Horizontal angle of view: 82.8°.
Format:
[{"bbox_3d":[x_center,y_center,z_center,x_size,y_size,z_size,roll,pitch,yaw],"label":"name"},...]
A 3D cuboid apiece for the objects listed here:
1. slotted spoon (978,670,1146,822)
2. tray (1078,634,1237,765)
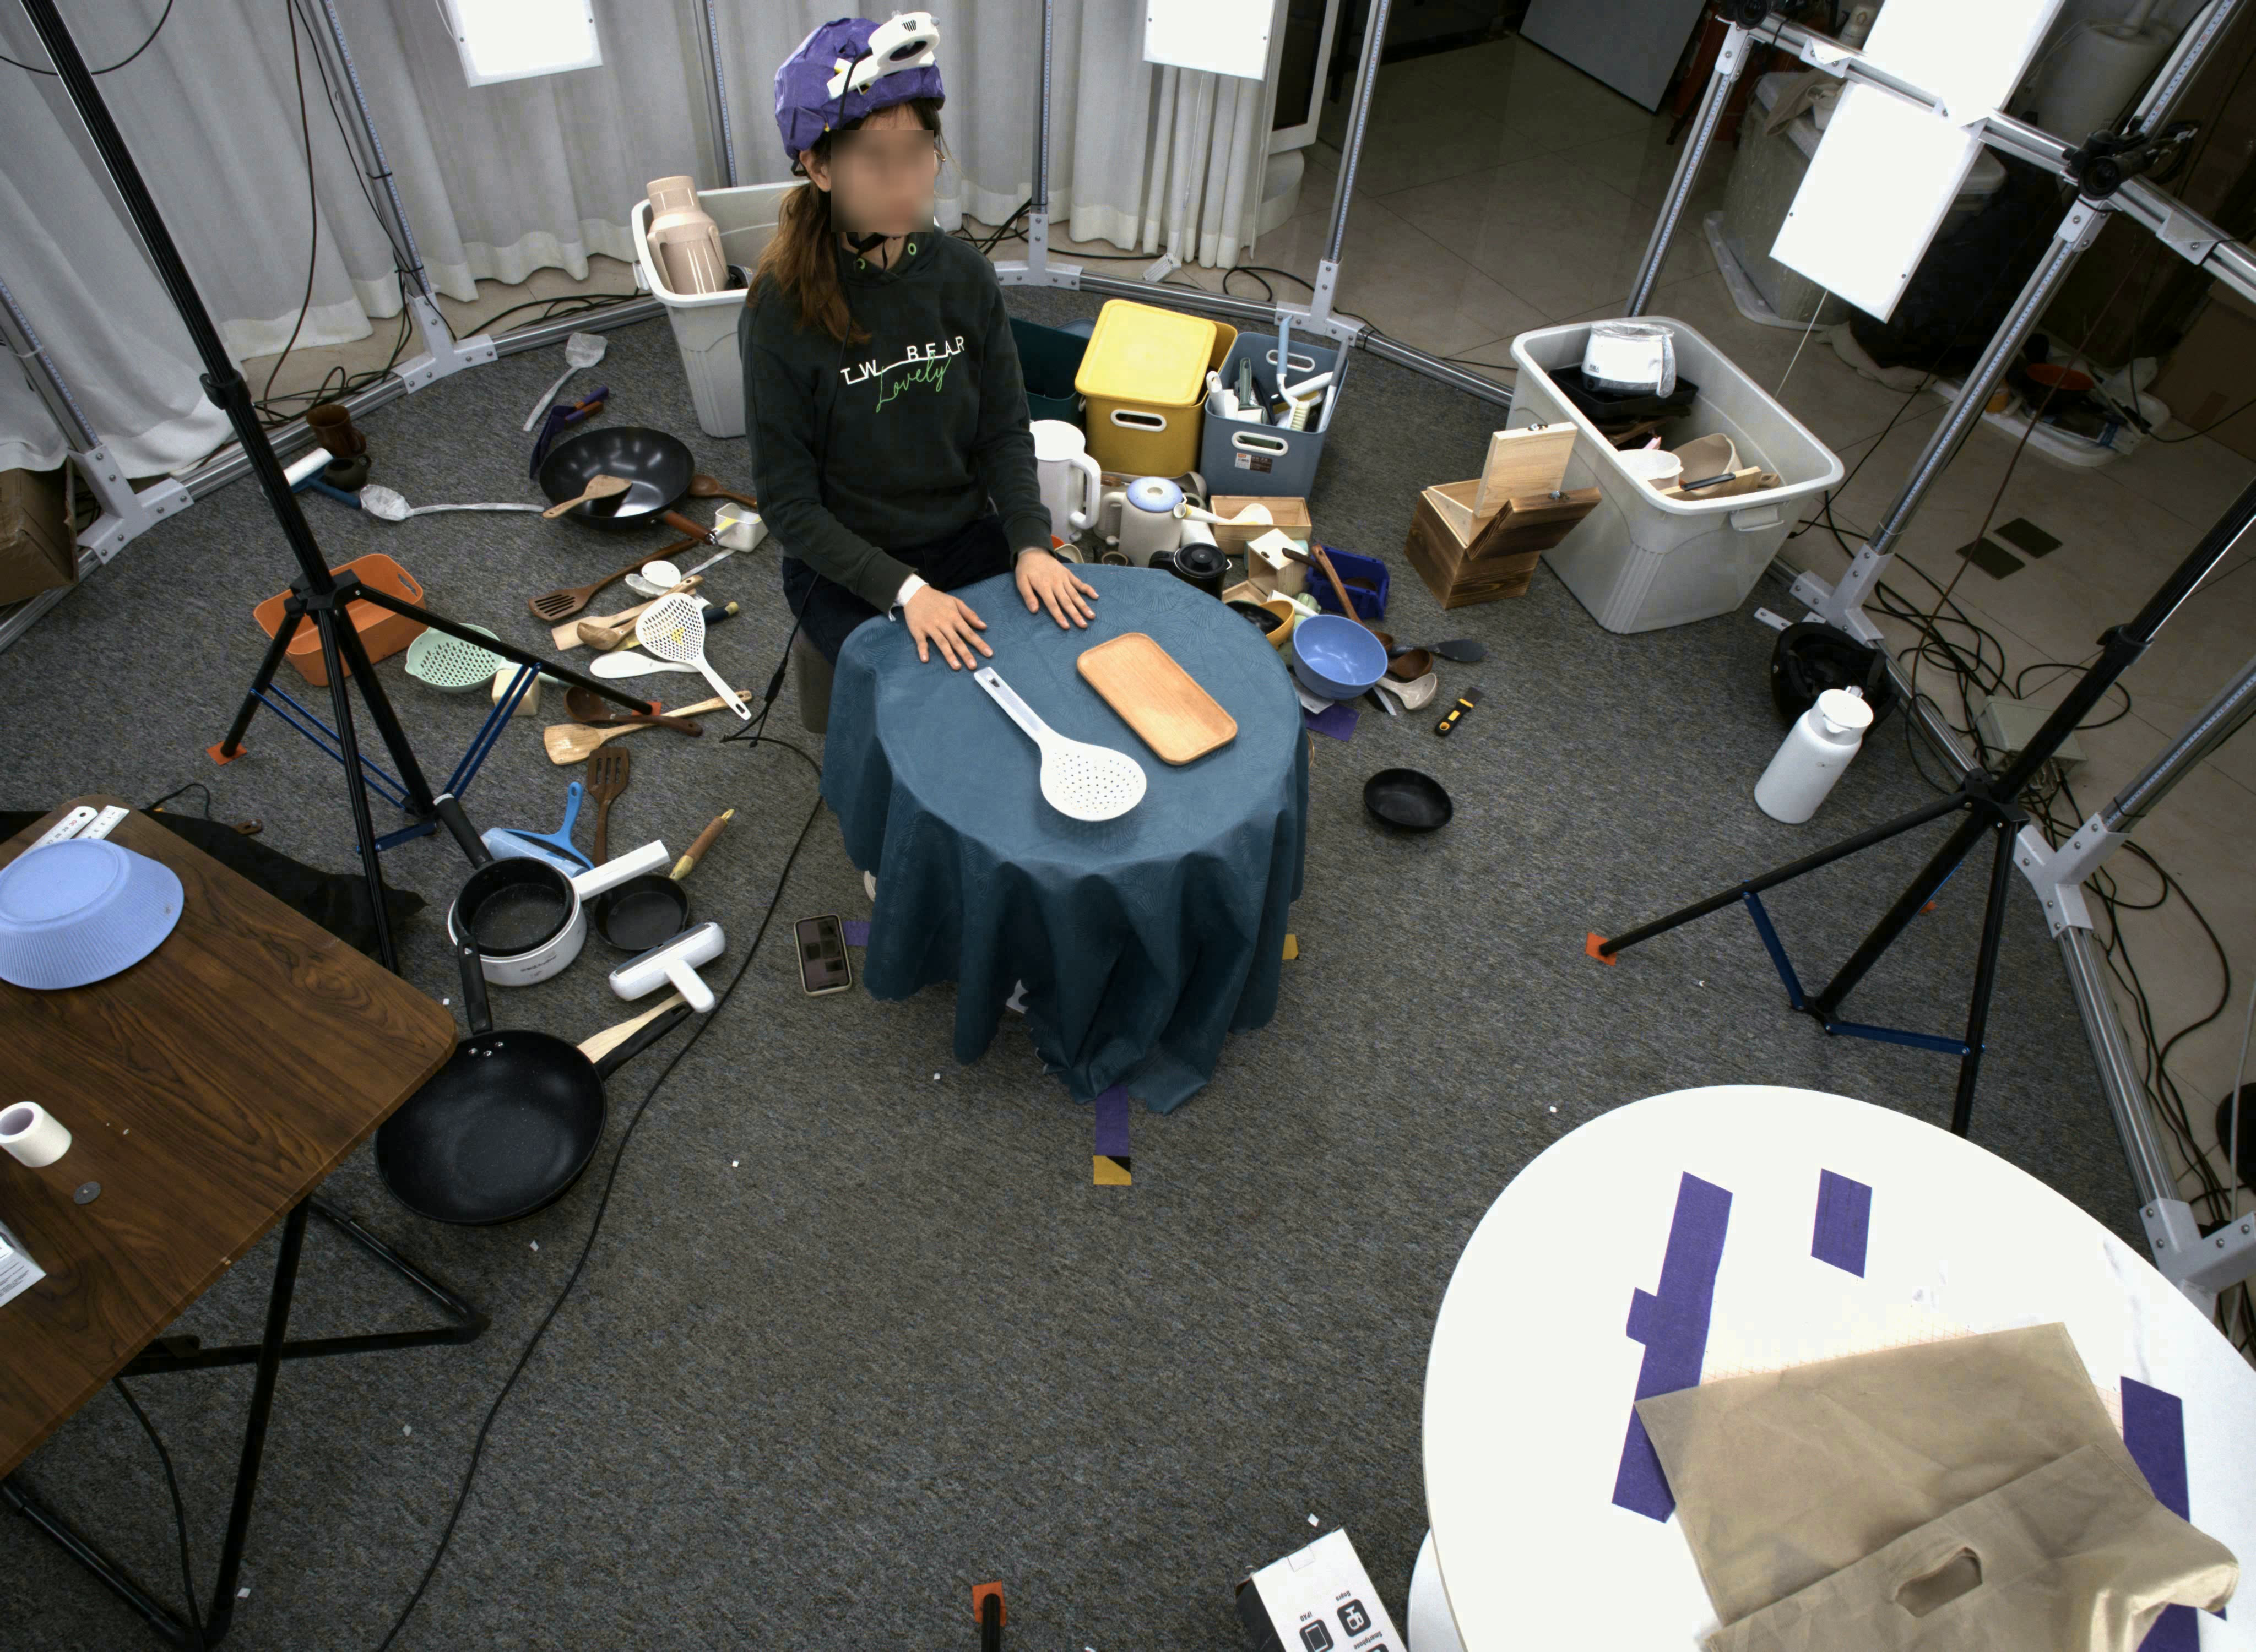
[{"bbox_3d":[-0.107,-0.115,1.747,0.136,0.044,0.356,-24,54,-25],"label":"slotted spoon"},{"bbox_3d":[0.040,-0.183,1.836,0.131,0.022,0.255,-25,54,-25],"label":"tray"}]
